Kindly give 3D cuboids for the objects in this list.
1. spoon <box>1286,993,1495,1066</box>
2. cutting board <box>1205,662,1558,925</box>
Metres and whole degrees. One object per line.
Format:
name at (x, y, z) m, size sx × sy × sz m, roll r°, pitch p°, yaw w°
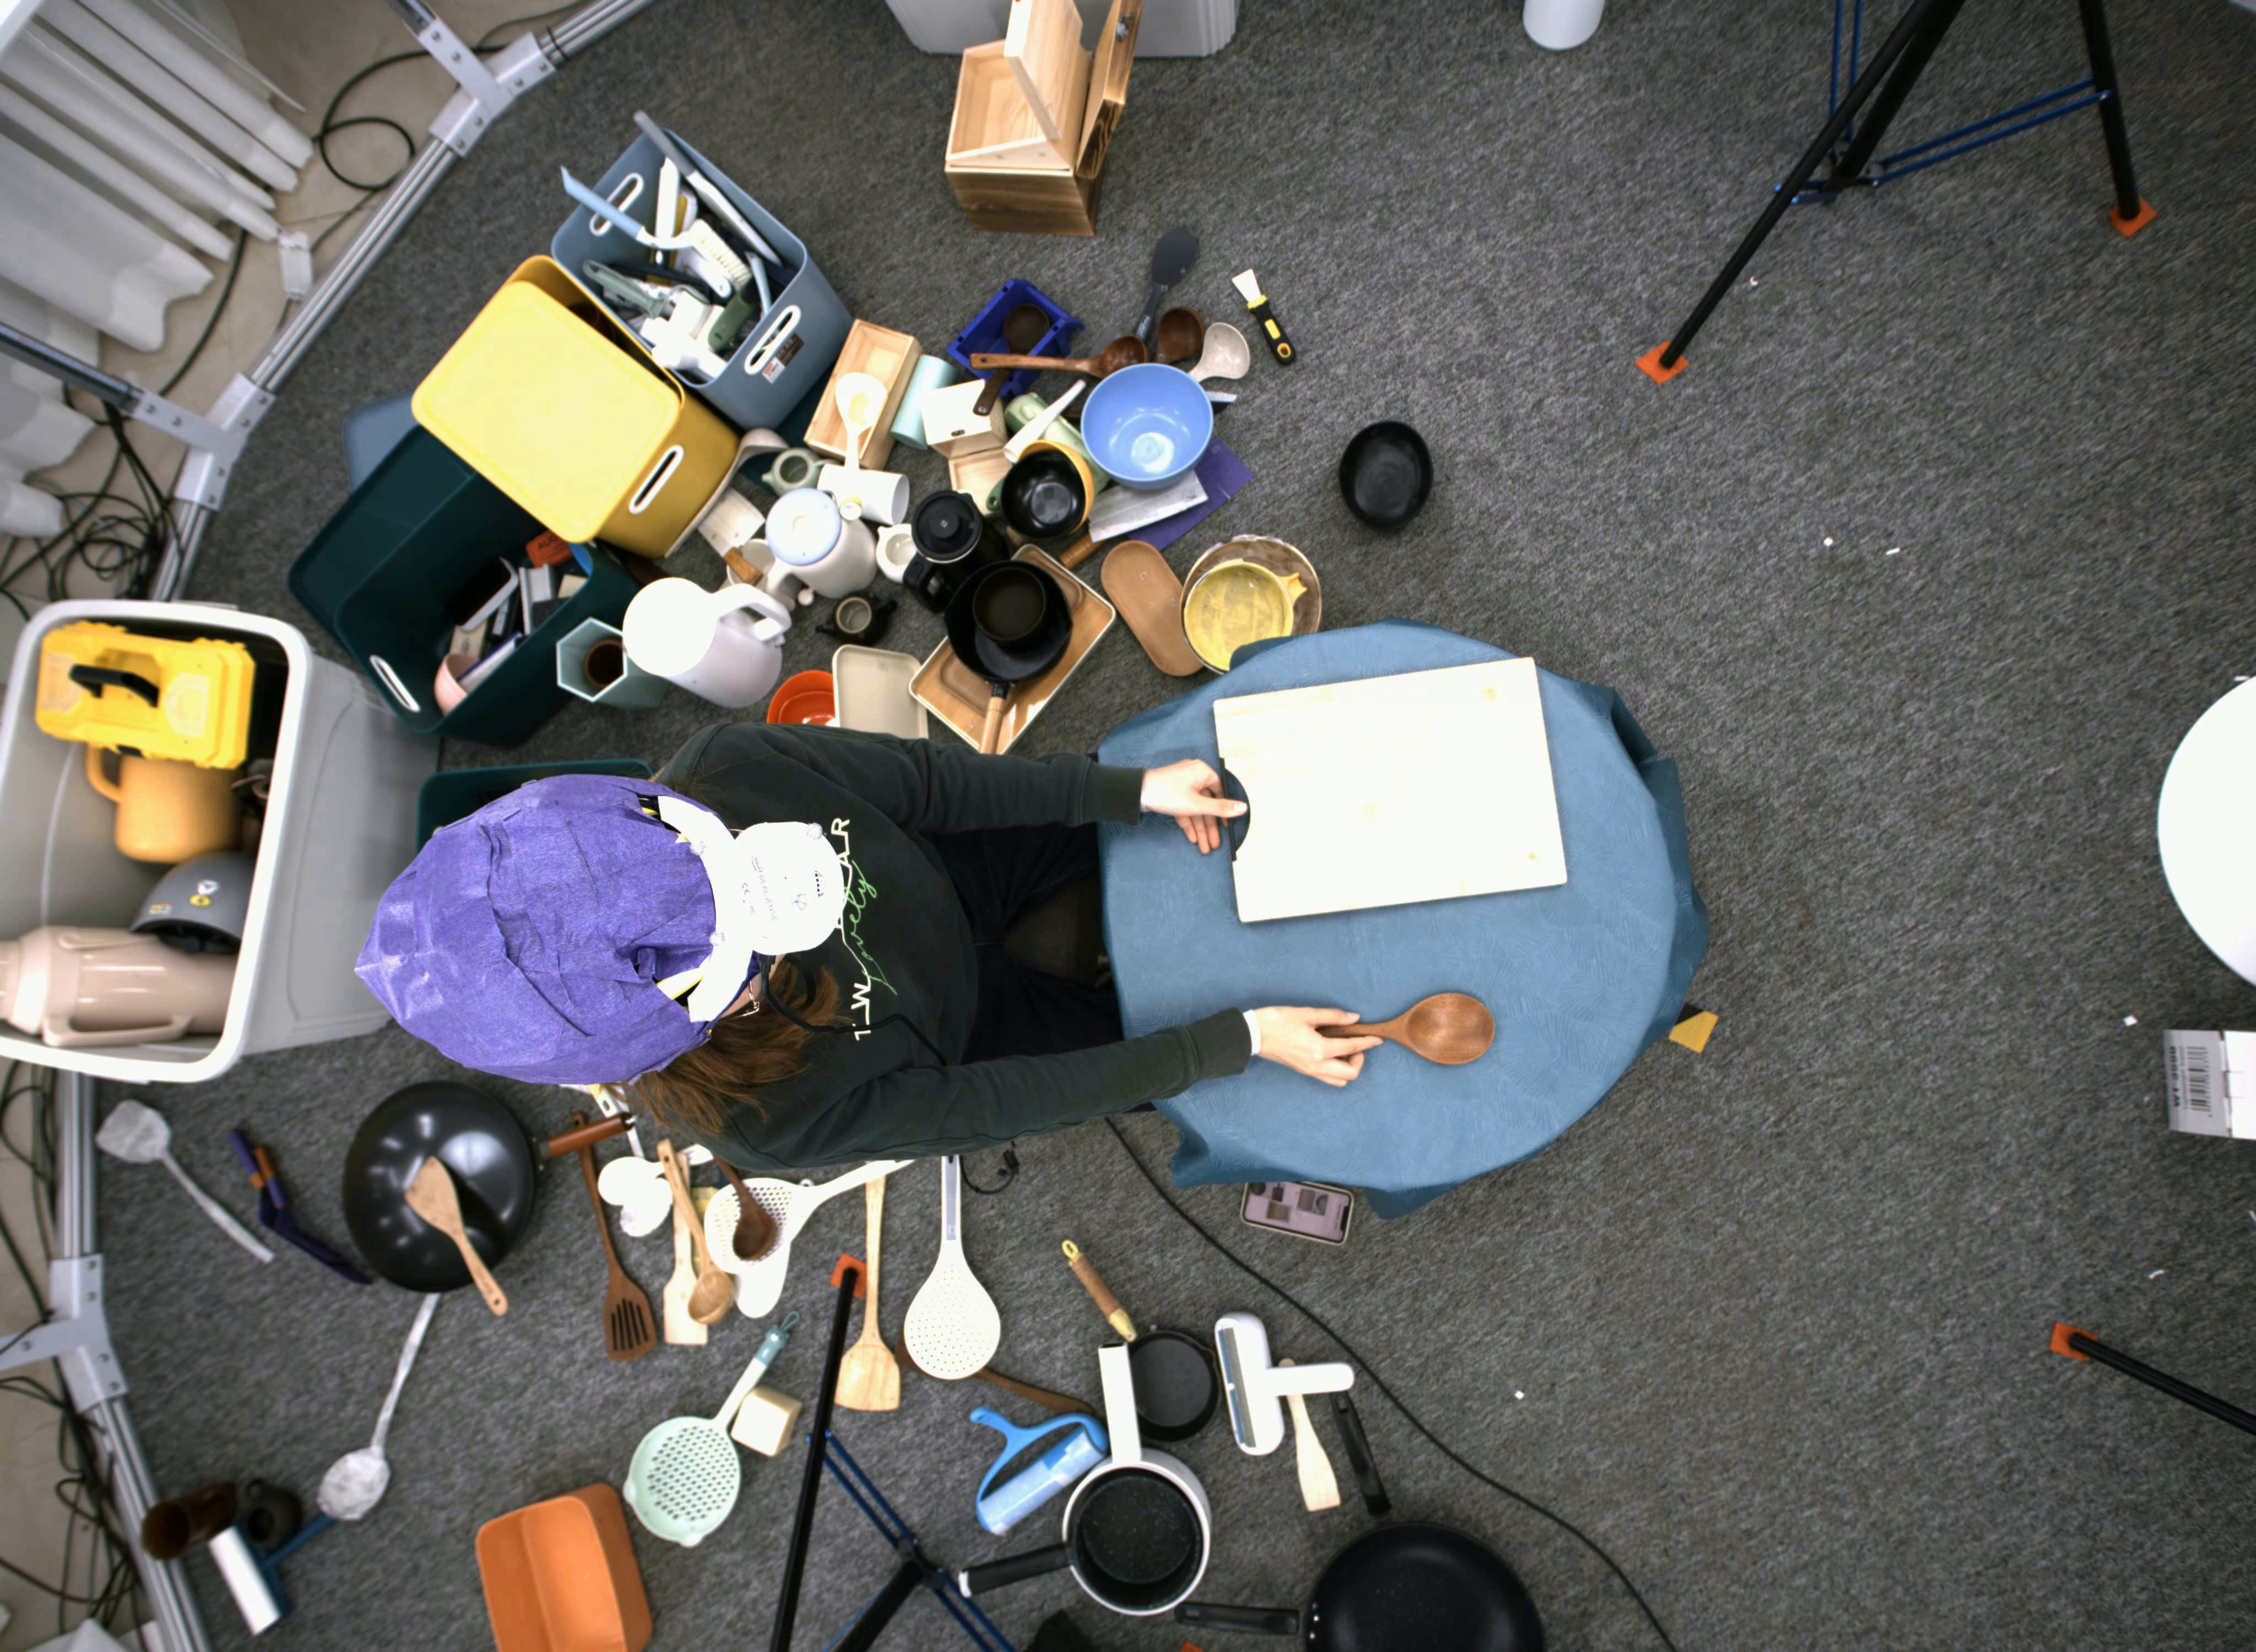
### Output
spoon at (0.273, 0.213, 1.445) m, size 0.217 × 0.017 × 0.075 m, roll -3°, pitch 87°, yaw 9°
cutting board at (0.268, -0.035, 1.458) m, size 0.350 × 0.023 × 0.249 m, roll -8°, pitch 84°, yaw 8°
